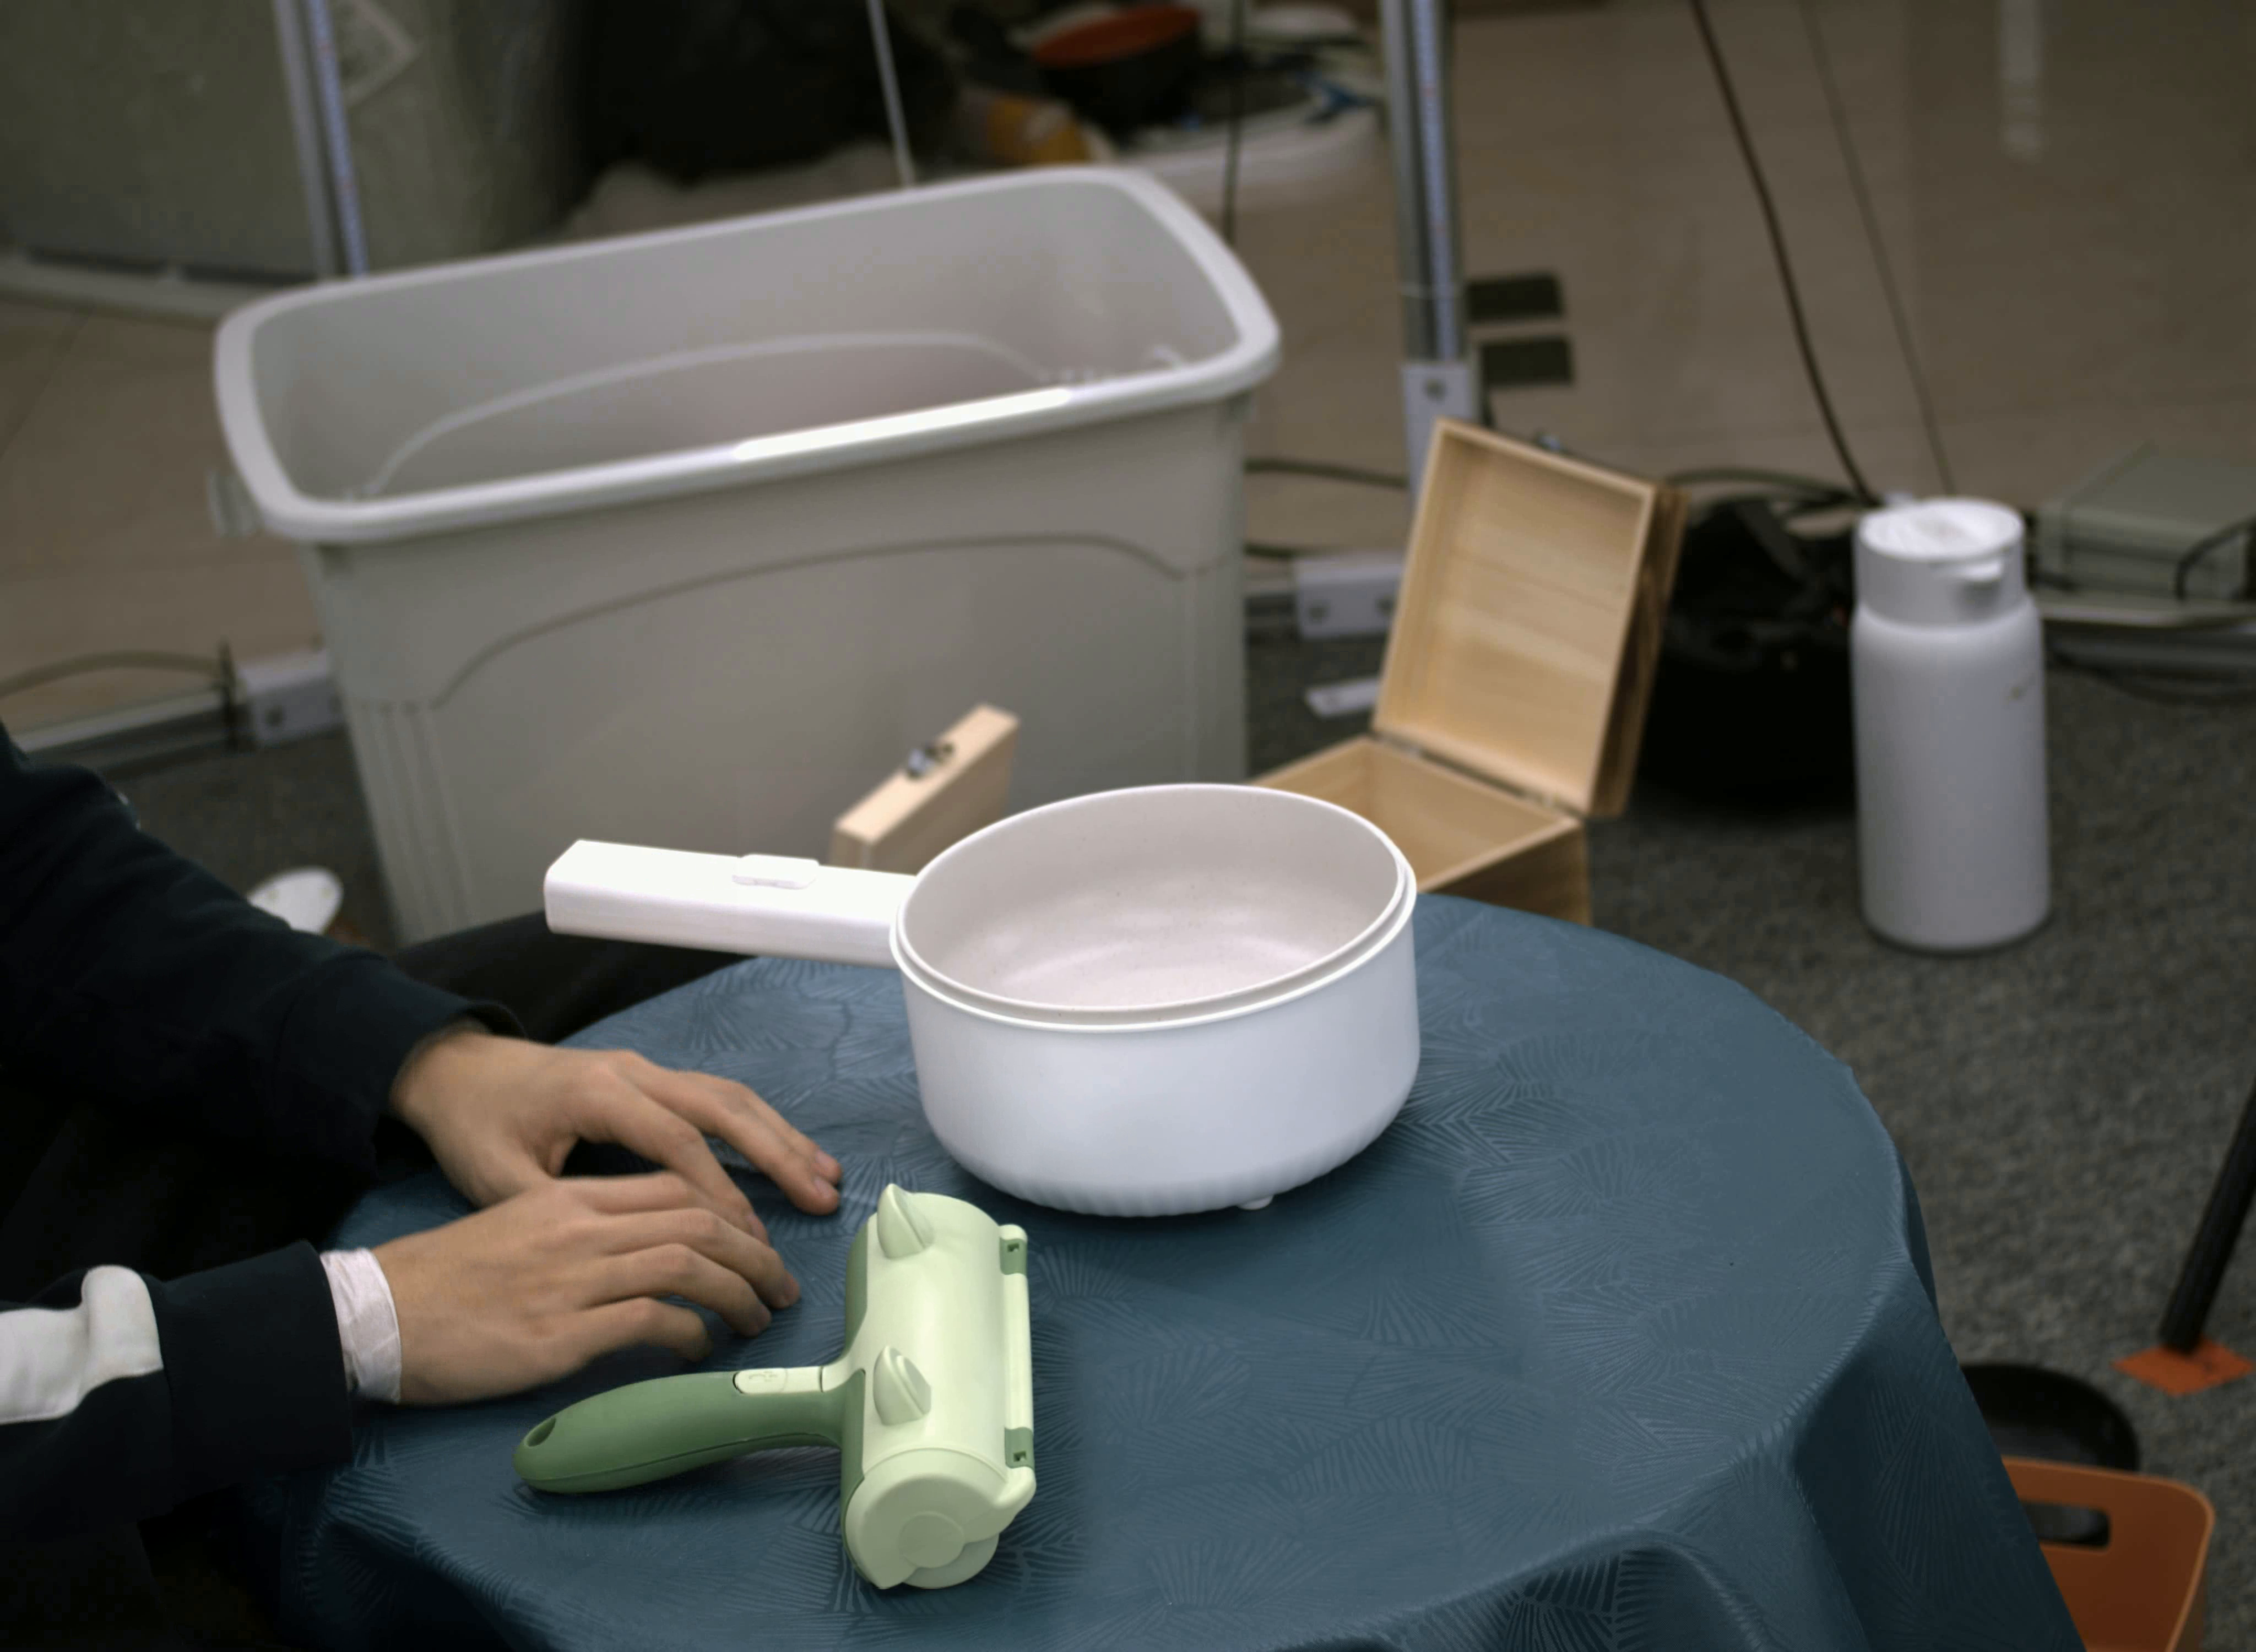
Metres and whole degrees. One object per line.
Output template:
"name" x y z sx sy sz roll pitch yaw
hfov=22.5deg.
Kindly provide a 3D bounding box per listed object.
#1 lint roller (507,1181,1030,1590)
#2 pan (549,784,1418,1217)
"lint roller" -0.126 0.189 1.976 0.183 0.083 0.195 -1 26 -1
"pan" -0.058 0.065 2.197 0.353 0.104 0.198 4 28 23
